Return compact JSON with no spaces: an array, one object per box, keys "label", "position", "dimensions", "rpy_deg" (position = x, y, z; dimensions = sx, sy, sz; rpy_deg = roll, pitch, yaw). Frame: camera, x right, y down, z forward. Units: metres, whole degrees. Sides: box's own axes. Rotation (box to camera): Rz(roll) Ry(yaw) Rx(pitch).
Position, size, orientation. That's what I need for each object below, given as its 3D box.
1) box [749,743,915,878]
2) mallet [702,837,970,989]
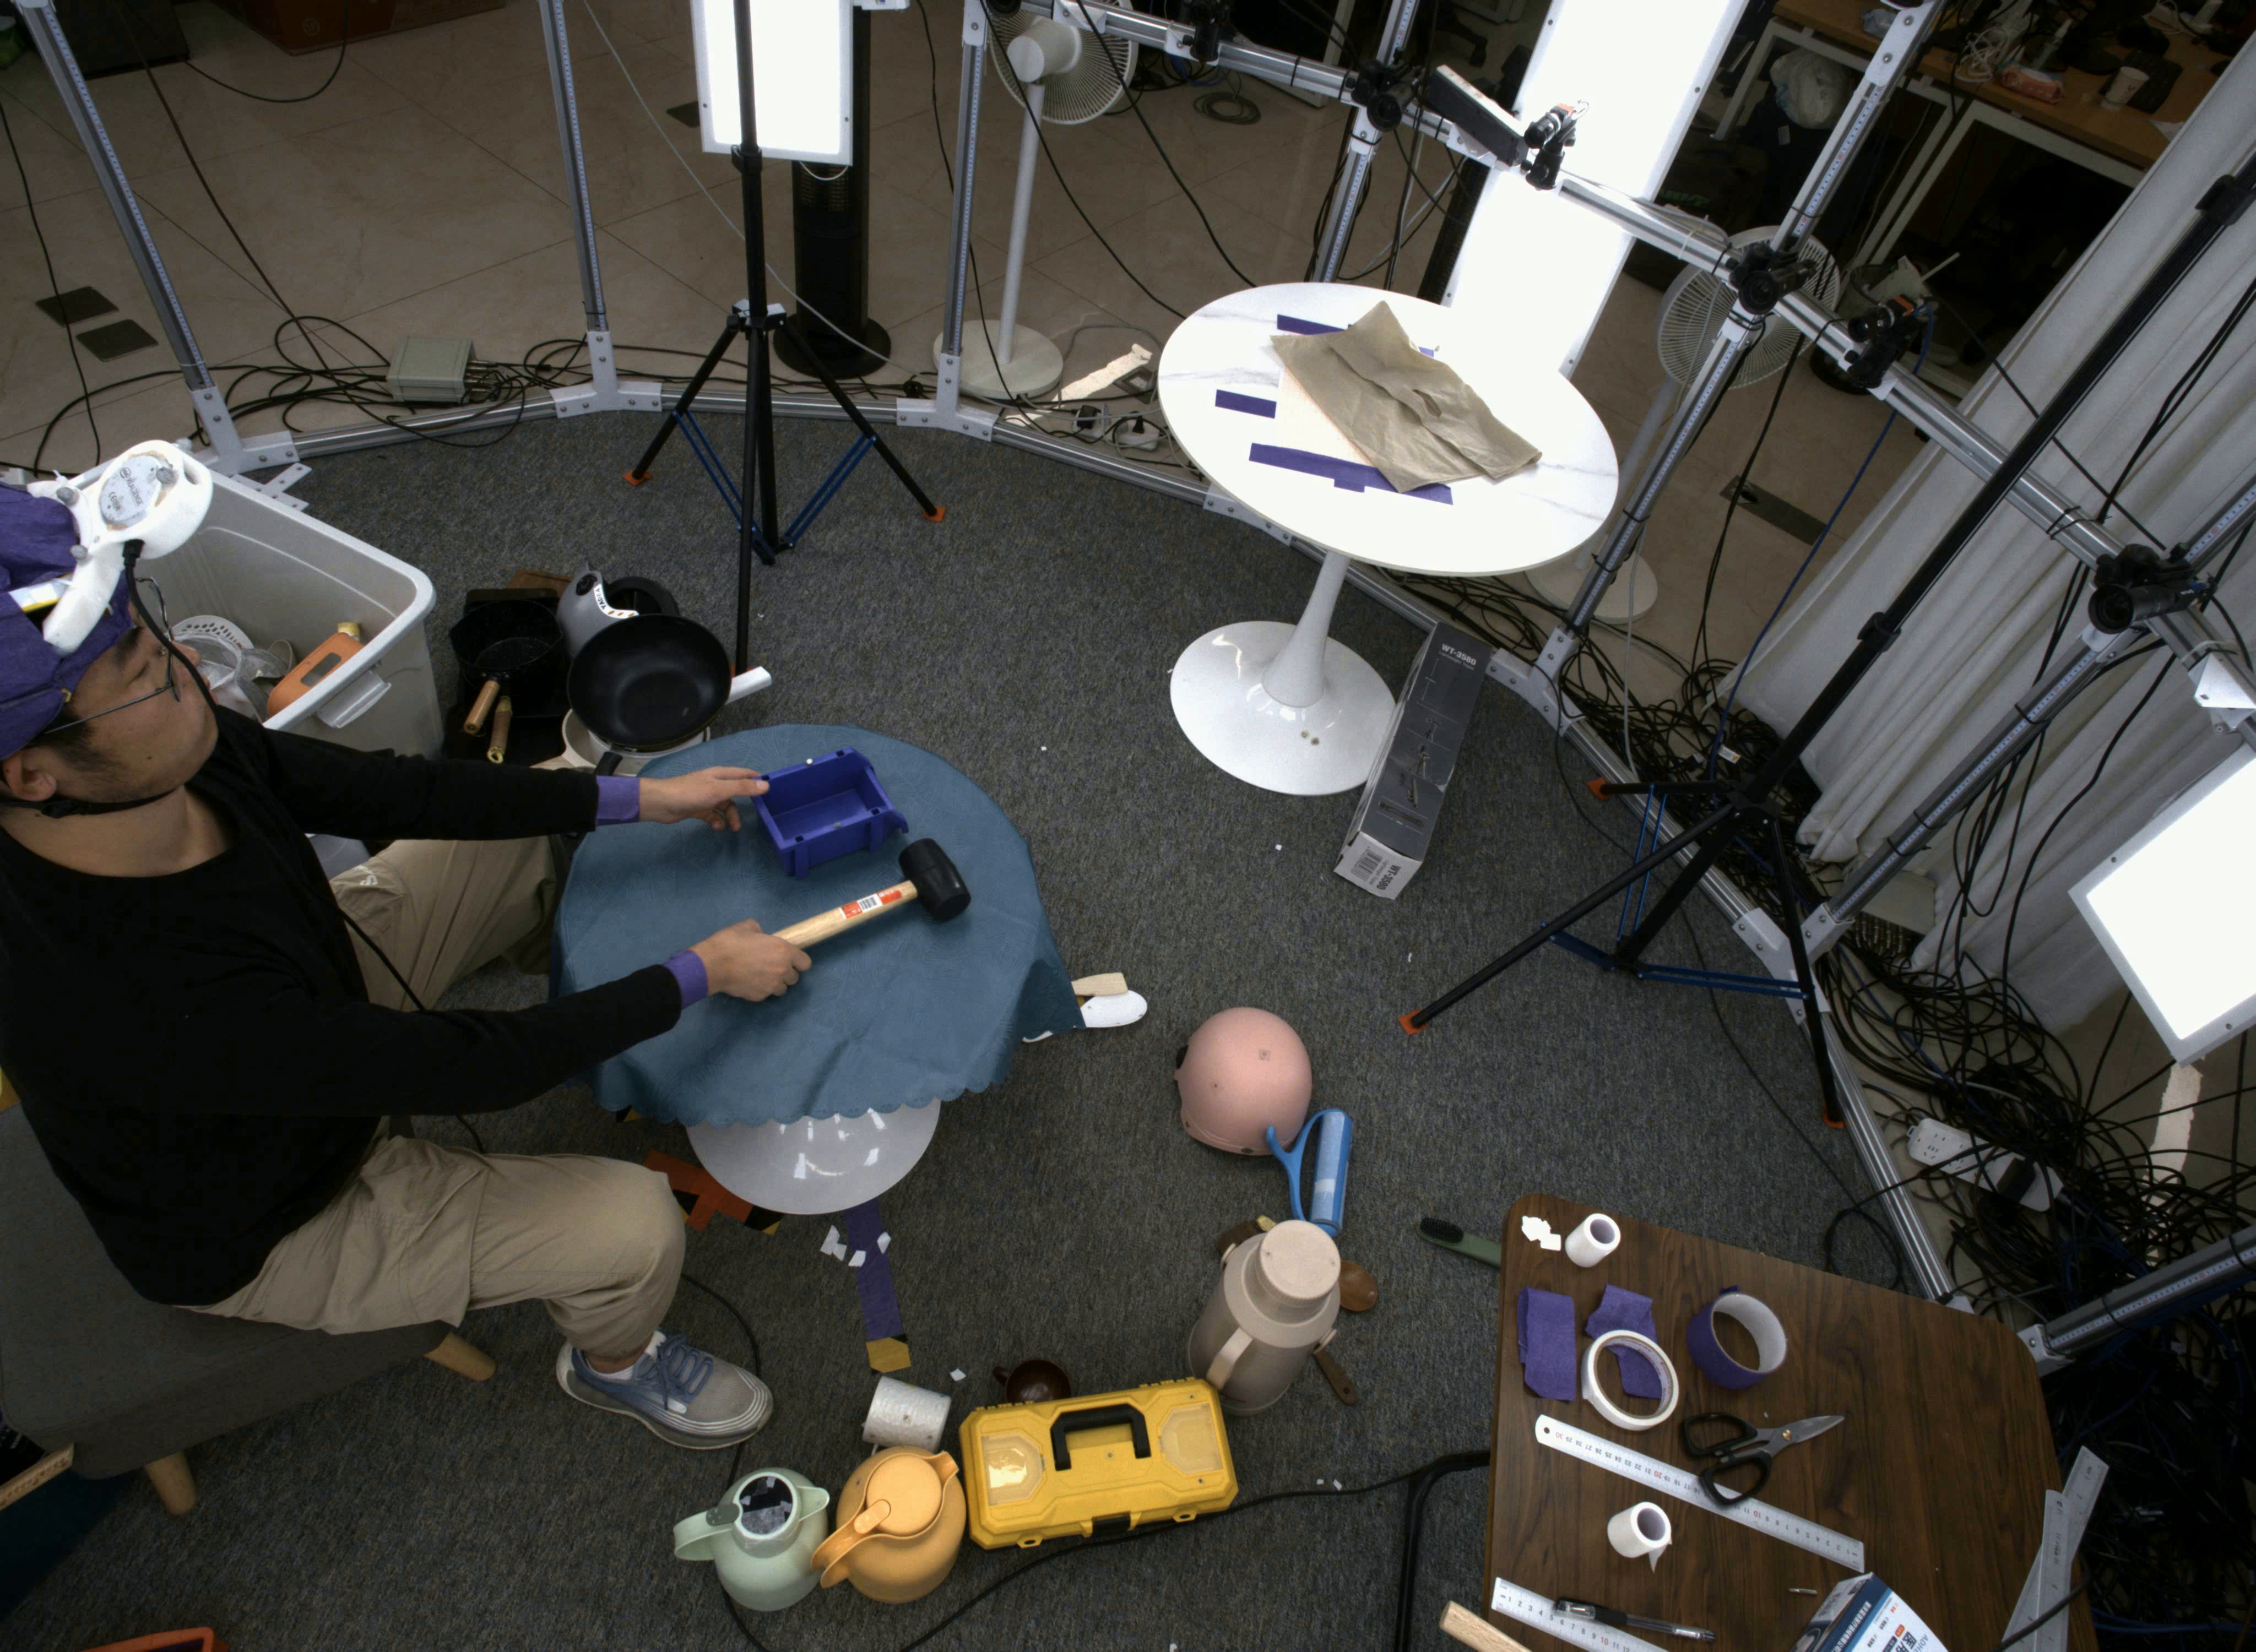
[{"label":"box","position":[-0.386,-0.026,1.698],"dimensions":[0.180,0.084,0.121],"rpy_deg":[-23,61,-24]},{"label":"mallet","position":[-0.361,0.113,1.606],"dimensions":[0.341,0.065,0.099],"rpy_deg":[-22,60,-30]}]
